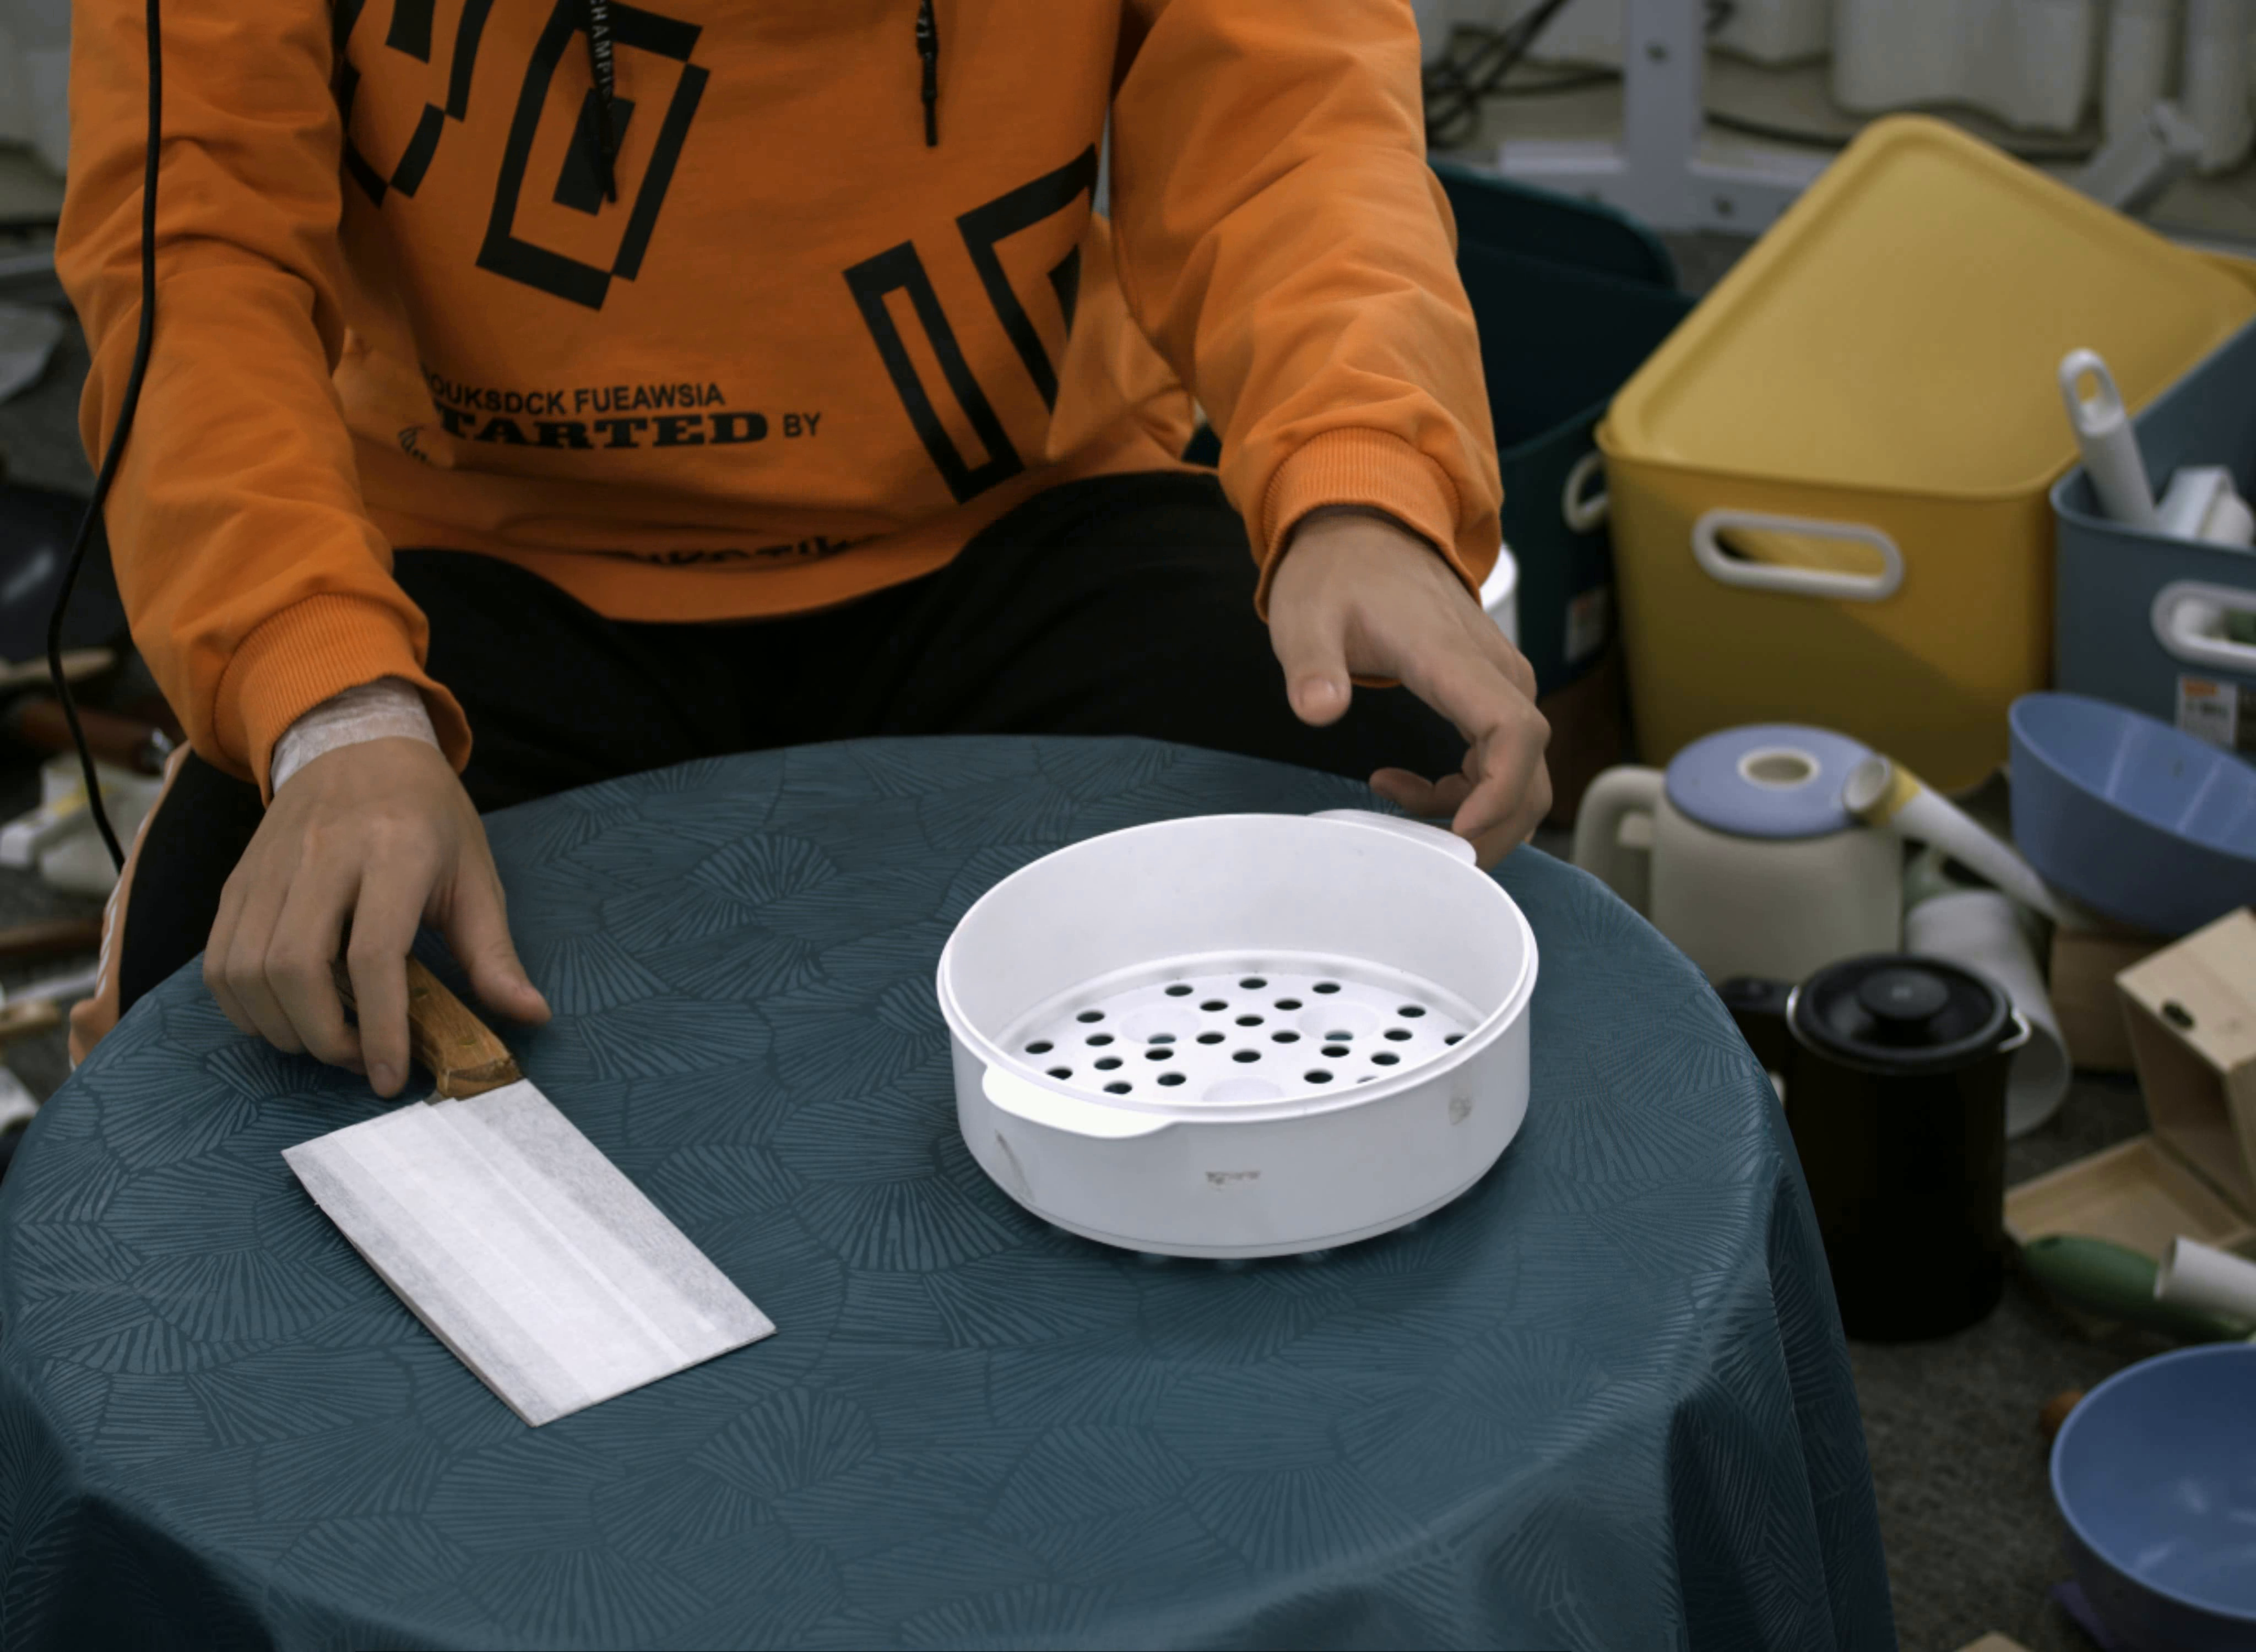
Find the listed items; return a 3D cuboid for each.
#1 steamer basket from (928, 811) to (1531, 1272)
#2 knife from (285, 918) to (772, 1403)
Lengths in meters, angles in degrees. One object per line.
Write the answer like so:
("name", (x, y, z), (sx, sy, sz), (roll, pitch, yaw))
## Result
("steamer basket", (0.035, 0.073, 1.878), (0.201, 0.068, 0.234), (14, 33, 30))
("knife", (-0.228, 0.112, 1.886), (0.093, 0.021, 0.307), (-19, 34, -26))
